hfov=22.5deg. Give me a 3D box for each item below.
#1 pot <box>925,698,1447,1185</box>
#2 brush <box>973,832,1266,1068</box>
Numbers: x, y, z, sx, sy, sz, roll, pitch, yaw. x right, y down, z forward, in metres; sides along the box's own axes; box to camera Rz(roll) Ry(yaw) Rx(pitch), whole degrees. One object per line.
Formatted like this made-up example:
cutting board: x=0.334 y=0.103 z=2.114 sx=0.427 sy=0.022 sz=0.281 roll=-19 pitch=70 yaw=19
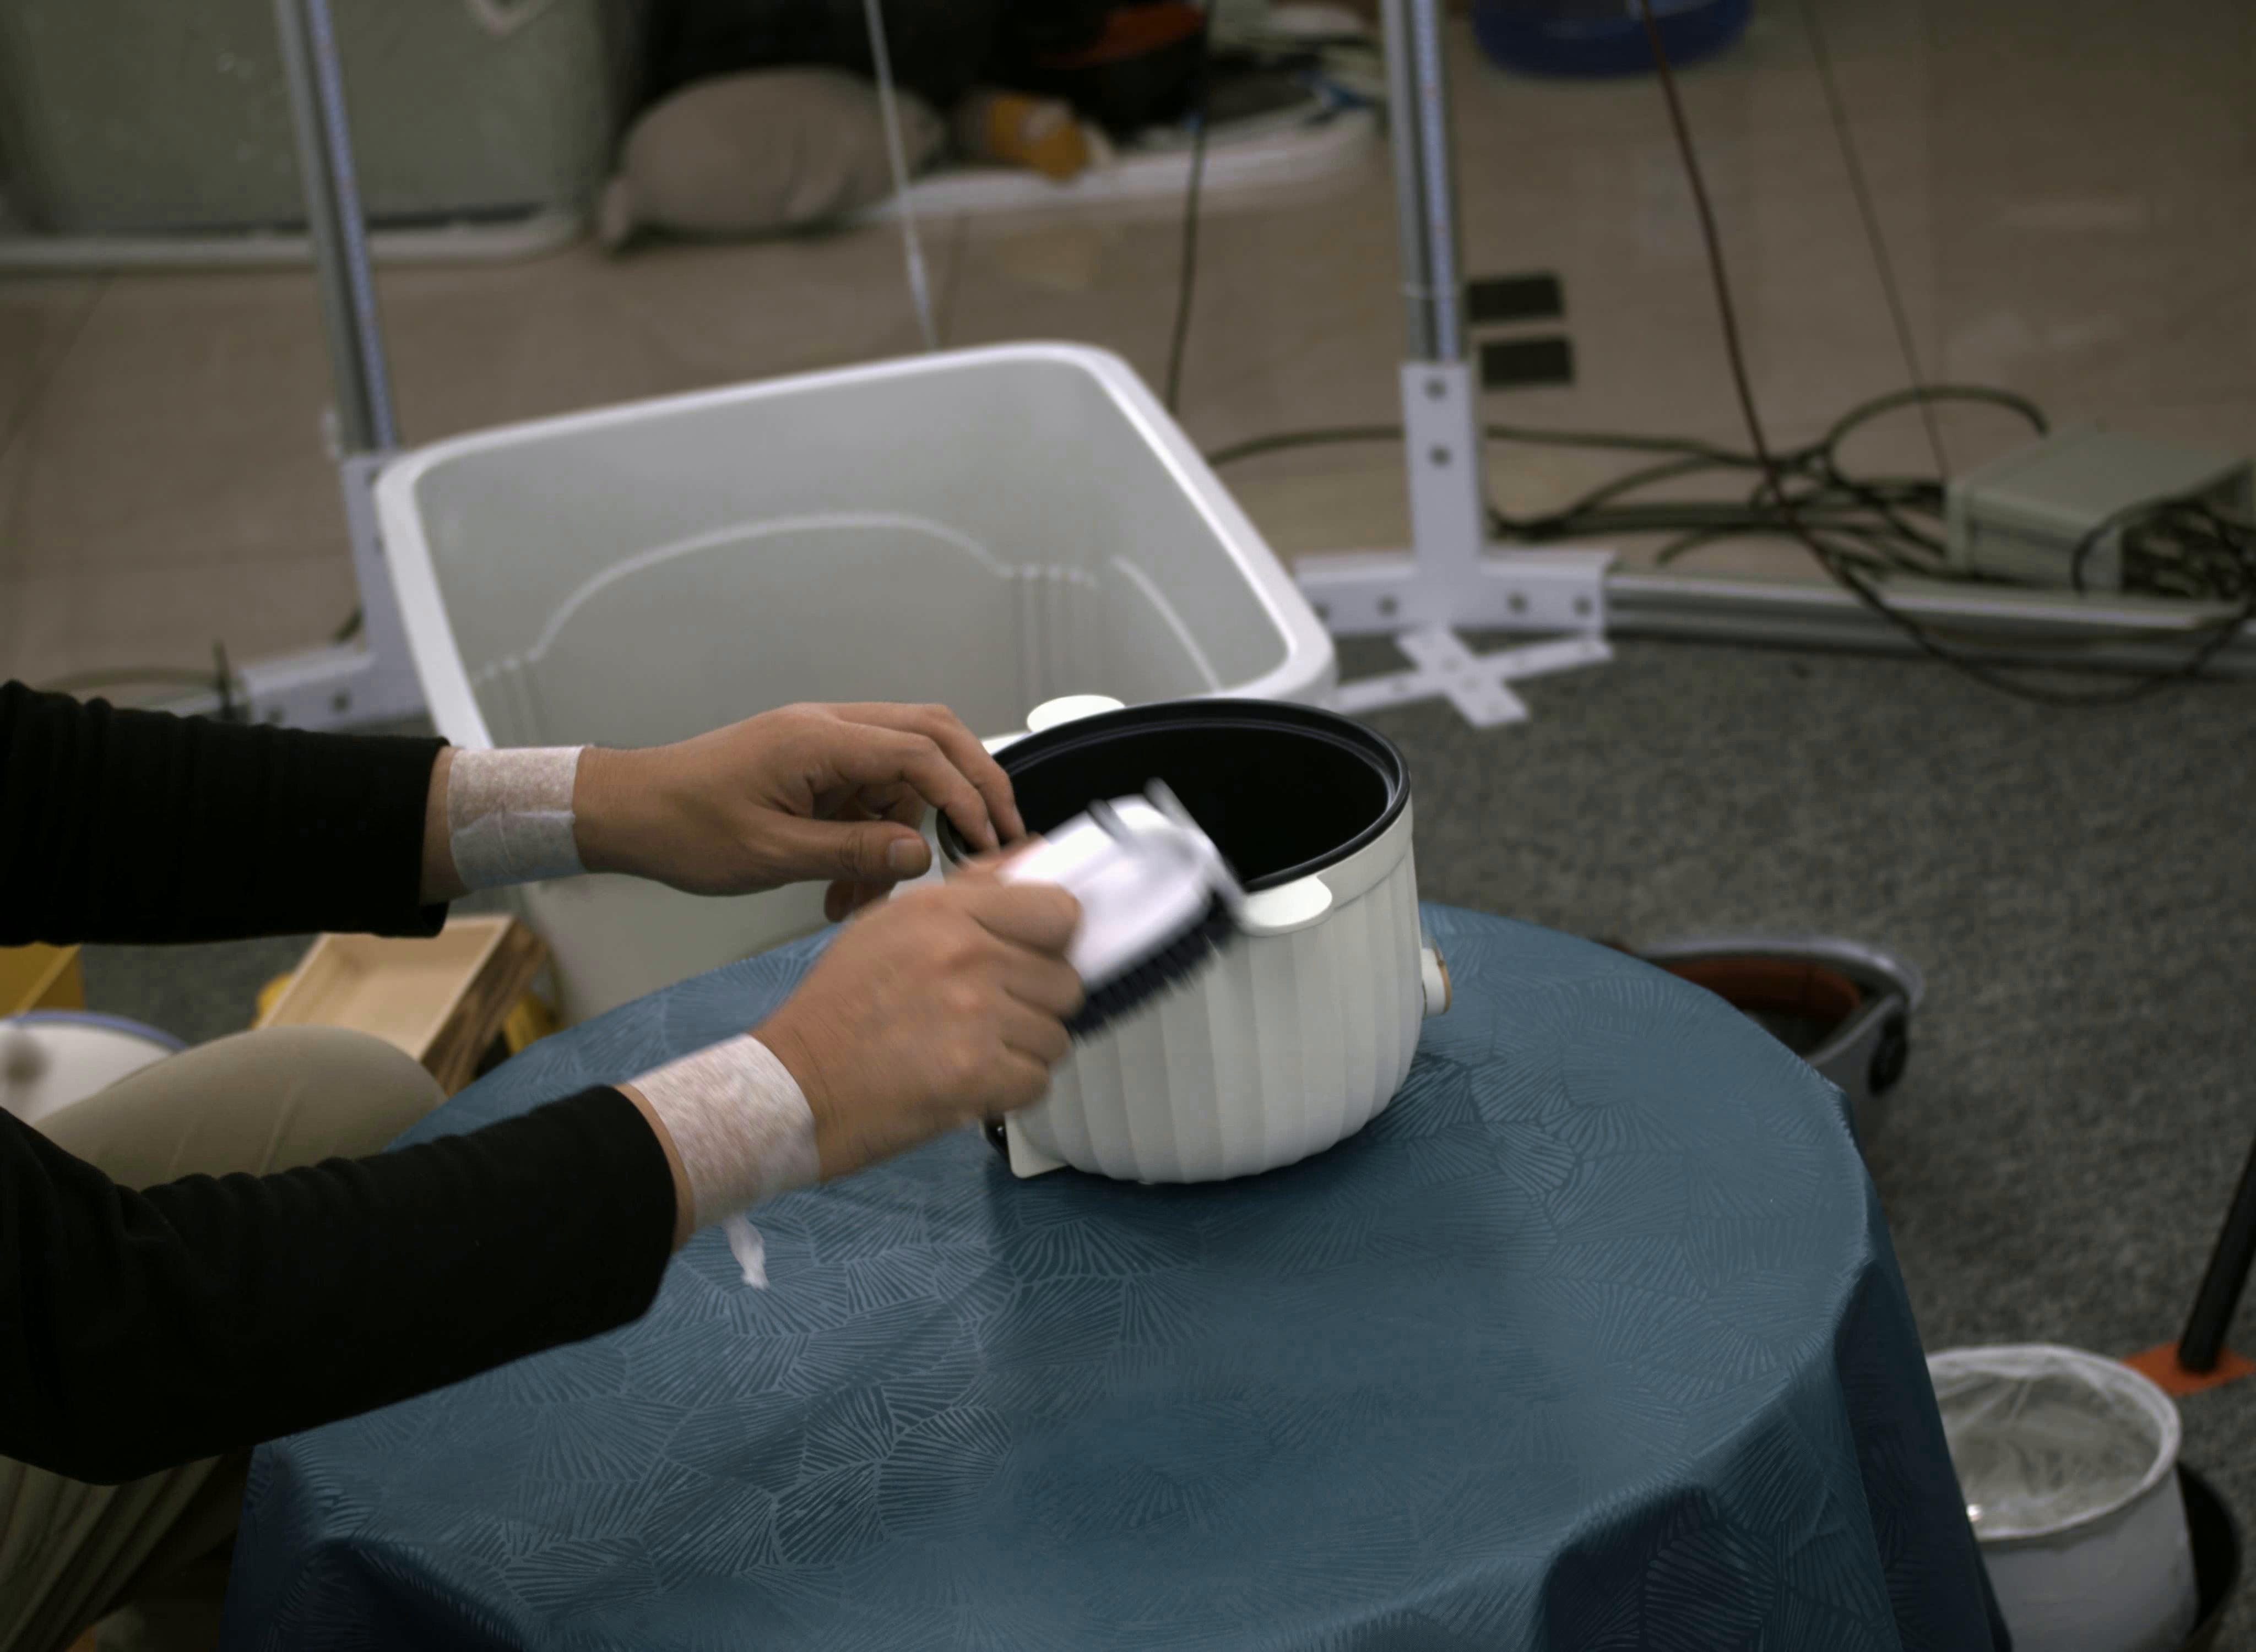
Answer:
pot: x=0.026 y=0.047 z=2.174 sx=0.190 sy=0.145 sz=0.237 roll=-18 pitch=29 yaw=-17
brush: x=-0.008 y=0.037 z=1.985 sx=0.099 sy=0.073 sz=0.049 roll=-29 pitch=55 yaw=5
